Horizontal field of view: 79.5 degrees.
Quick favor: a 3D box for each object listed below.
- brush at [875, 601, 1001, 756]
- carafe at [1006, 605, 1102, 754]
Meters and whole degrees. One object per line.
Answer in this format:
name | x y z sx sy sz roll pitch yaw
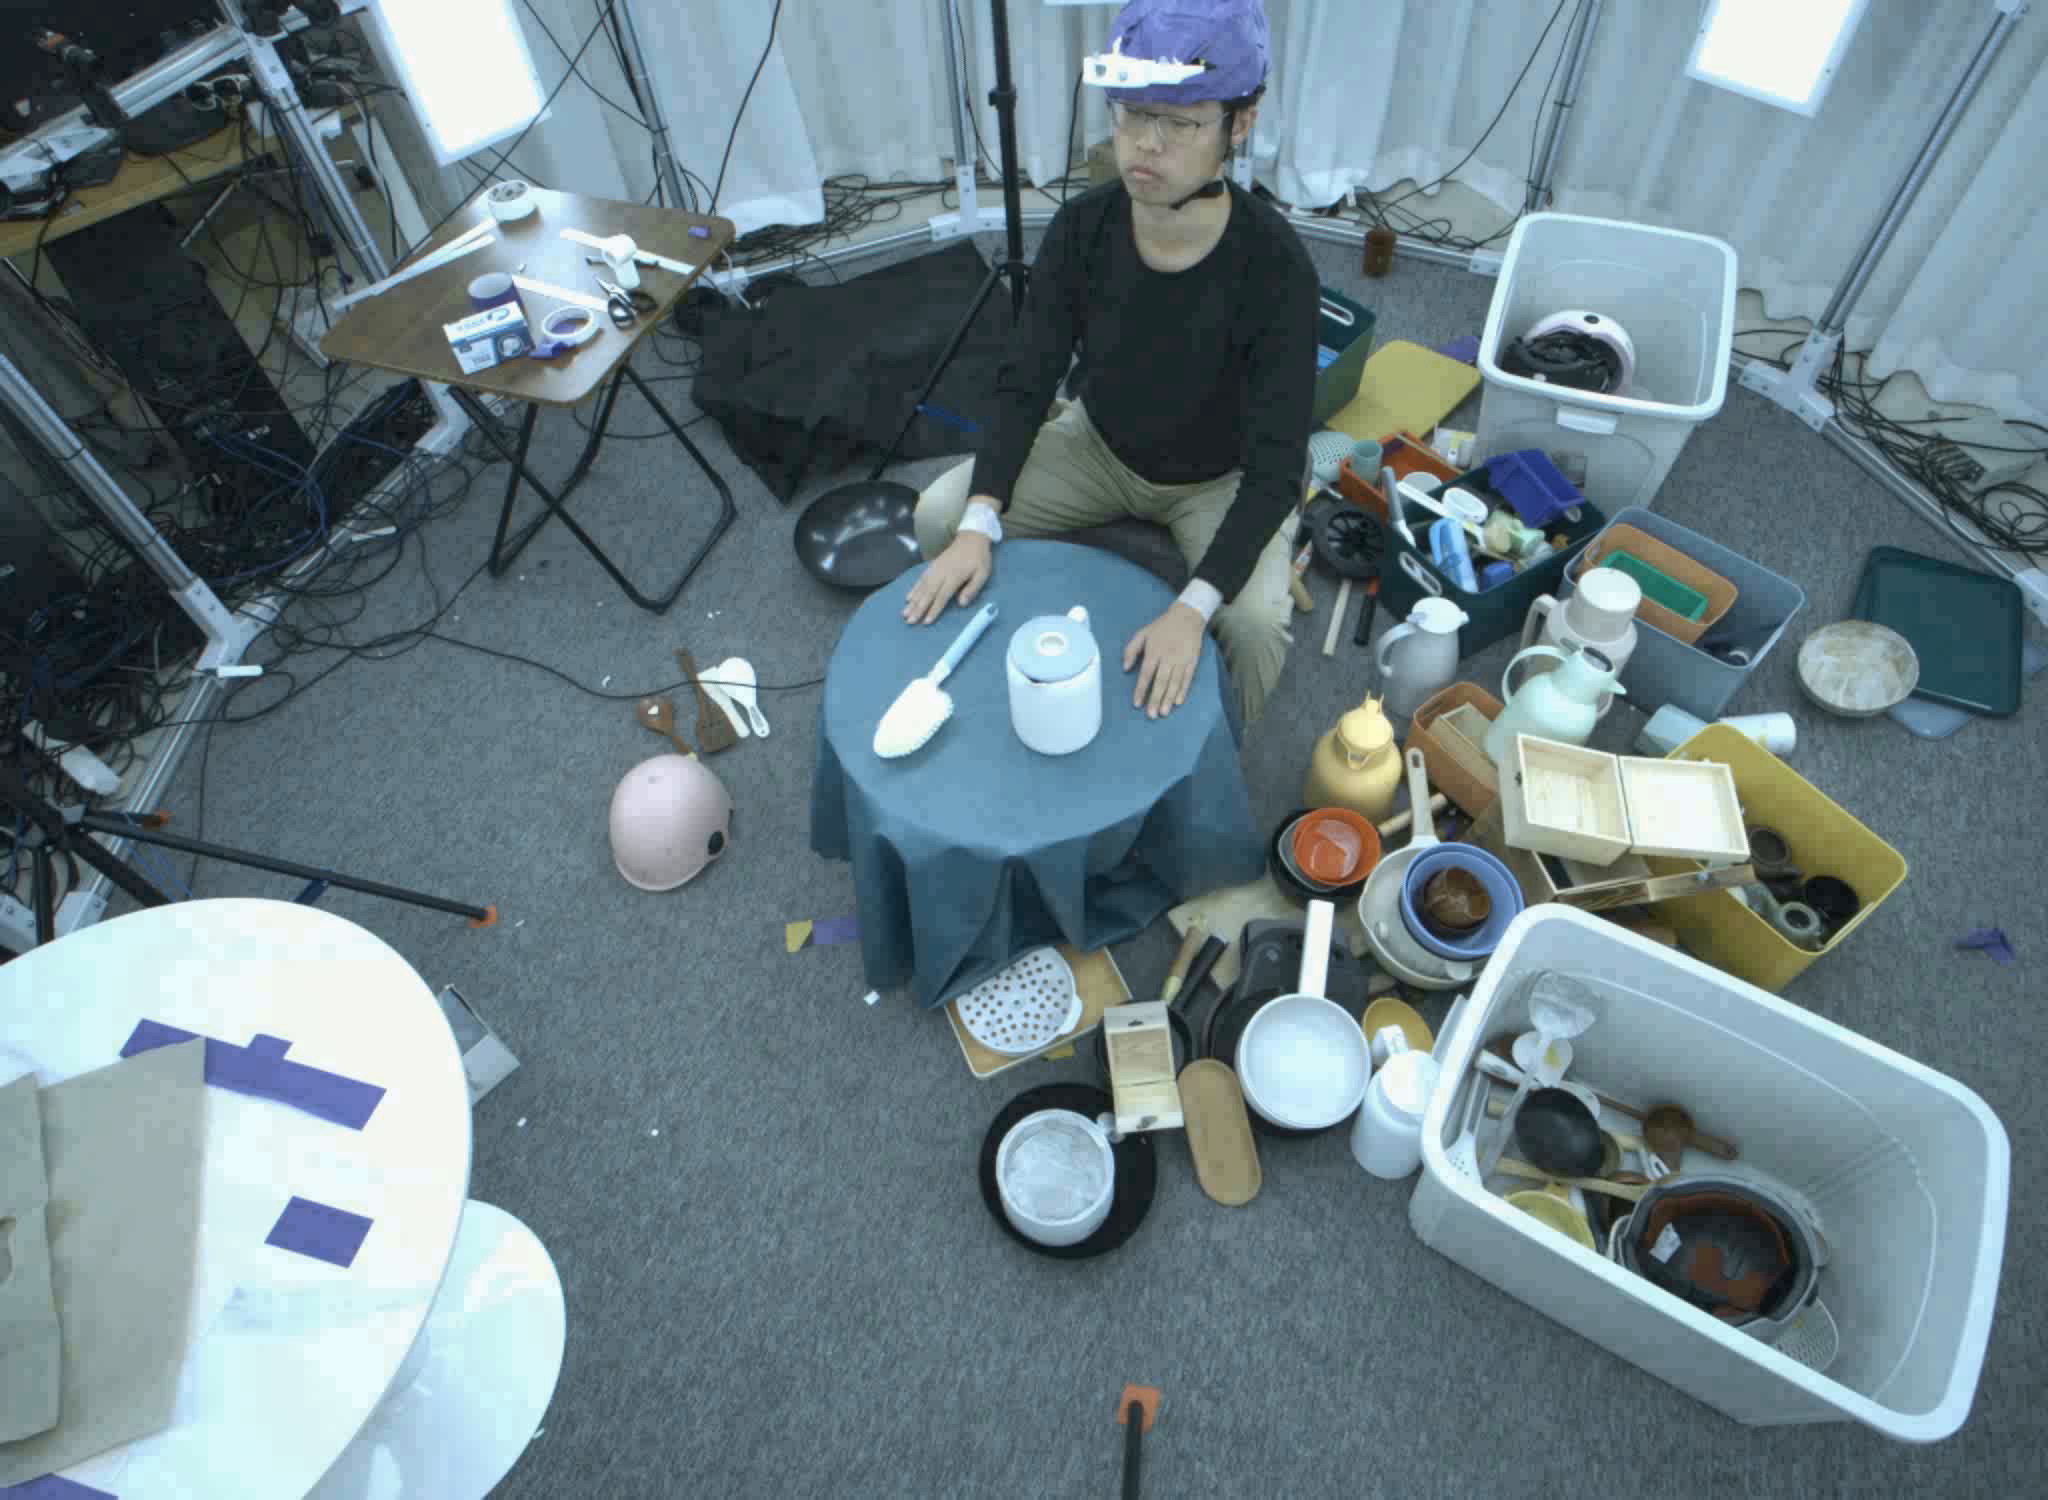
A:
brush | -0.113 -0.118 1.825 0.083 0.084 0.326 22 59 25
carafe | 0.053 -0.111 1.758 0.131 0.184 0.191 16 56 14
